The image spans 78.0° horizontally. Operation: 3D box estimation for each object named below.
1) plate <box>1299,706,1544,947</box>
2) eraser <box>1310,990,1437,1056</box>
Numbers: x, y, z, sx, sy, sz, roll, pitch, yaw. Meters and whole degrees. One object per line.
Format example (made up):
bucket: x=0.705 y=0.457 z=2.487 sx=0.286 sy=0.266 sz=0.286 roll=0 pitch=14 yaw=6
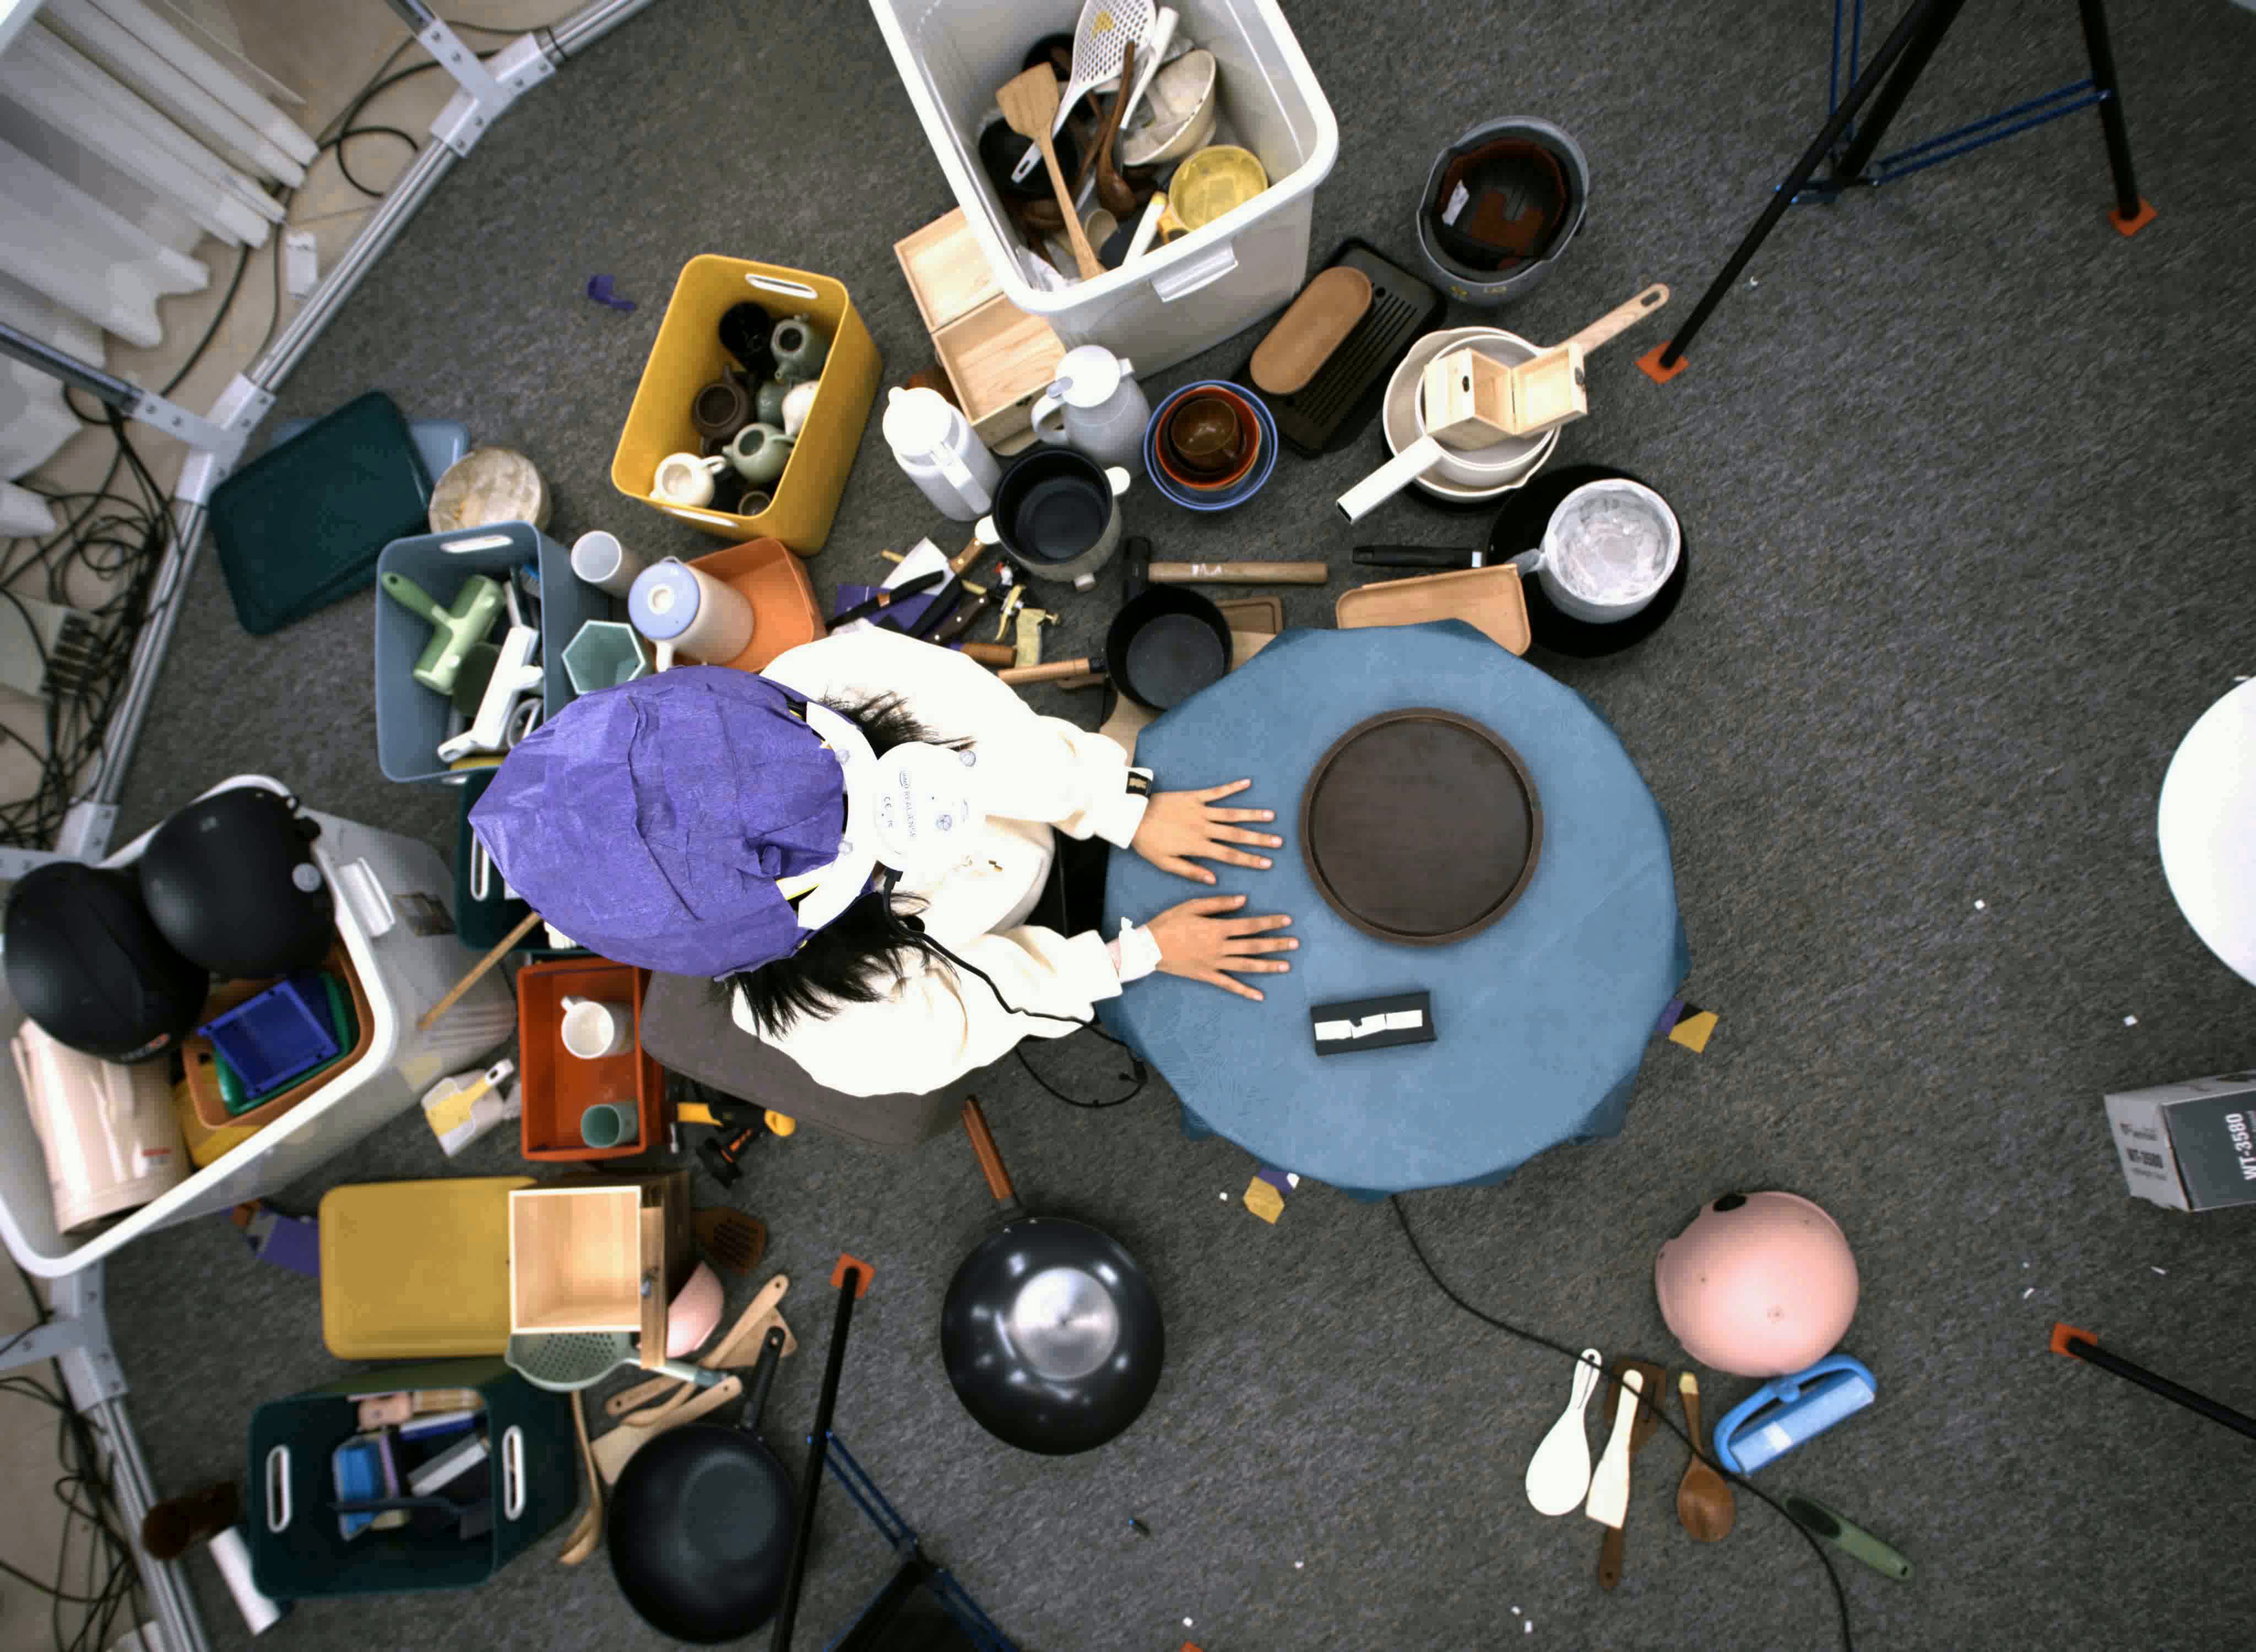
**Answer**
plate: x=0.306 y=-0.001 z=1.445 sx=0.256 sy=0.029 sz=0.253 roll=-1 pitch=87 yaw=9
eraser: x=0.256 y=0.204 z=1.442 sx=0.126 sy=0.030 sz=0.053 roll=-9 pitch=82 yaw=12
